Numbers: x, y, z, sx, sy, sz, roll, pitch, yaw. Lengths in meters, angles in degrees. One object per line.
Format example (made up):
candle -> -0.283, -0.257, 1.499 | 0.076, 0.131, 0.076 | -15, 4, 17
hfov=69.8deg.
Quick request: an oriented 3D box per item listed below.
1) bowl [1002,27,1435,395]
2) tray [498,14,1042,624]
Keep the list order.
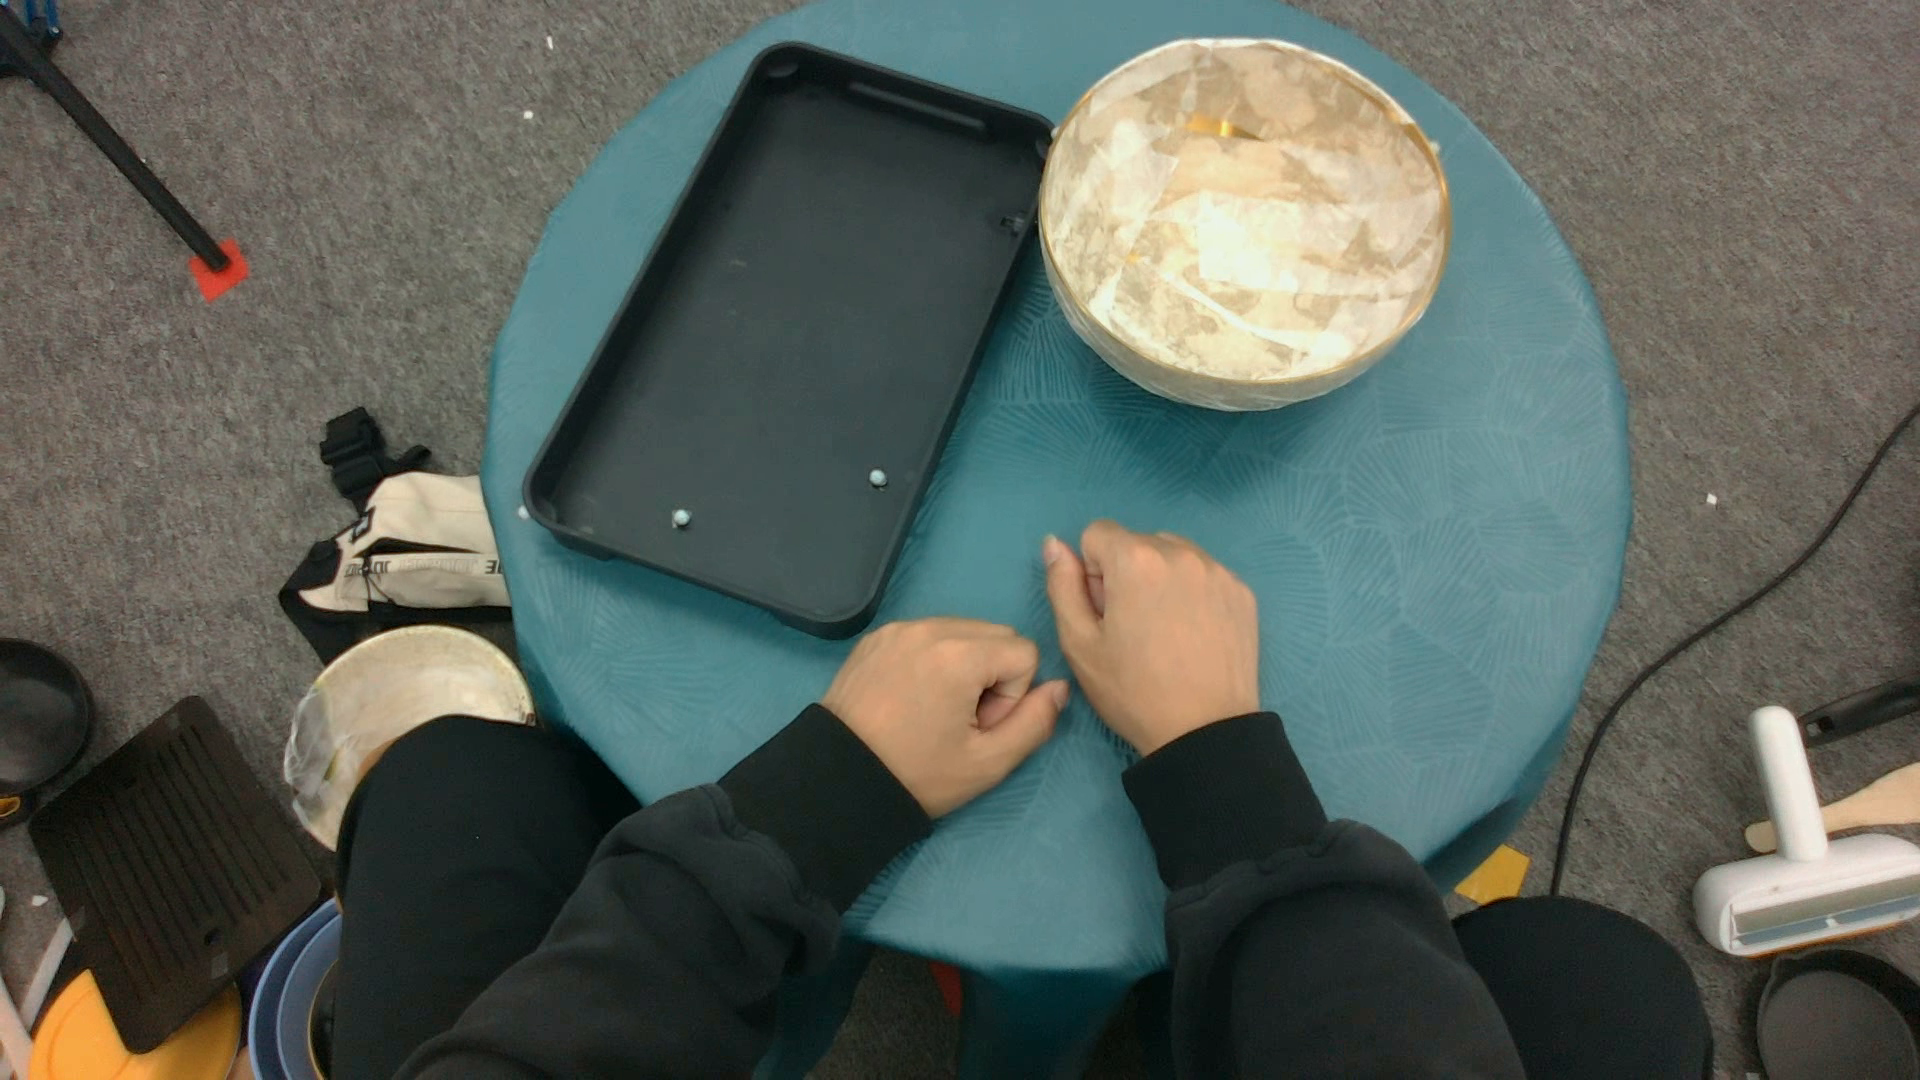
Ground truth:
bowl -> 0.124, -0.152, 0.710 | 0.215, 0.094, 0.215 | 1, 67, -2
tray -> -0.088, -0.125, 0.721 | 0.184, 0.037, 0.319 | 21, 70, 6
